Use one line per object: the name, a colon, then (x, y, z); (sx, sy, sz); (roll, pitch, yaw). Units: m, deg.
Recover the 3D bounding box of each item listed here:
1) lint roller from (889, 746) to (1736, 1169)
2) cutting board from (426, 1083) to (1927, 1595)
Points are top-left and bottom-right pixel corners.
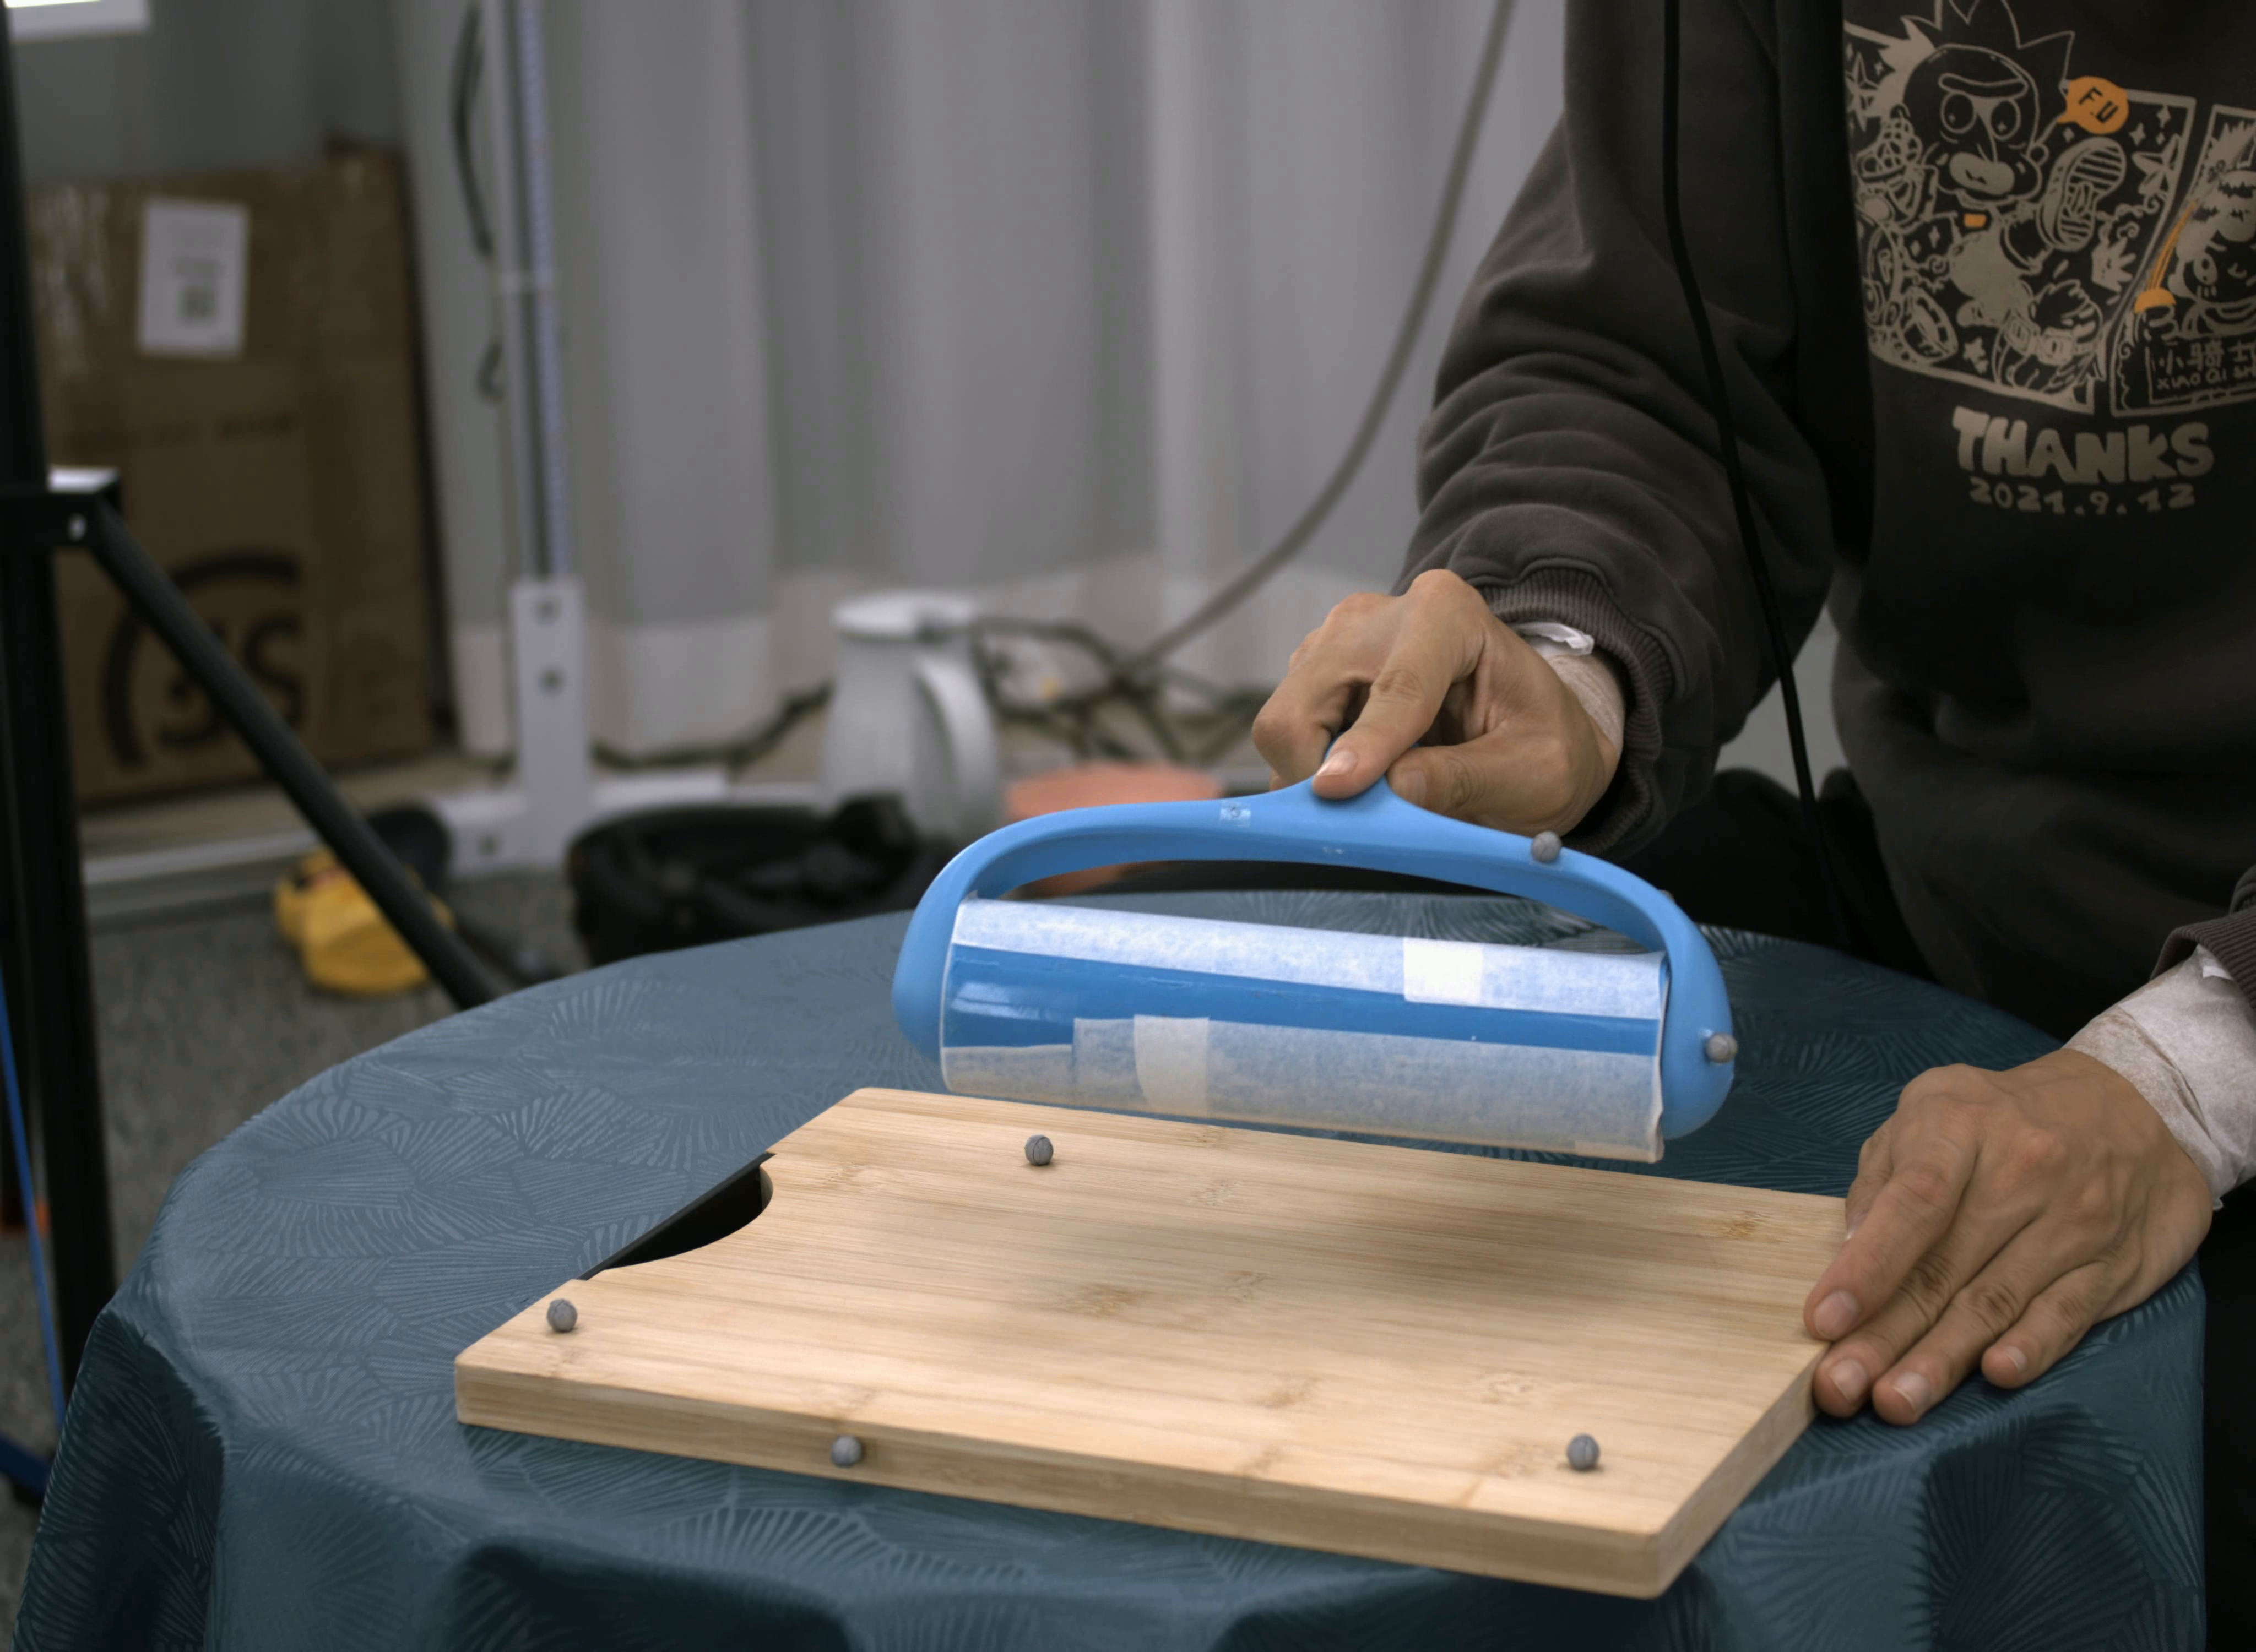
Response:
lint roller: (0.055, 0.019, 1.469); (0.229, 0.067, 0.181); (2, 39, 8)
cutting board: (0.018, 0.133, 1.443); (0.354, 0.023, 0.247); (5, 17, 25)
